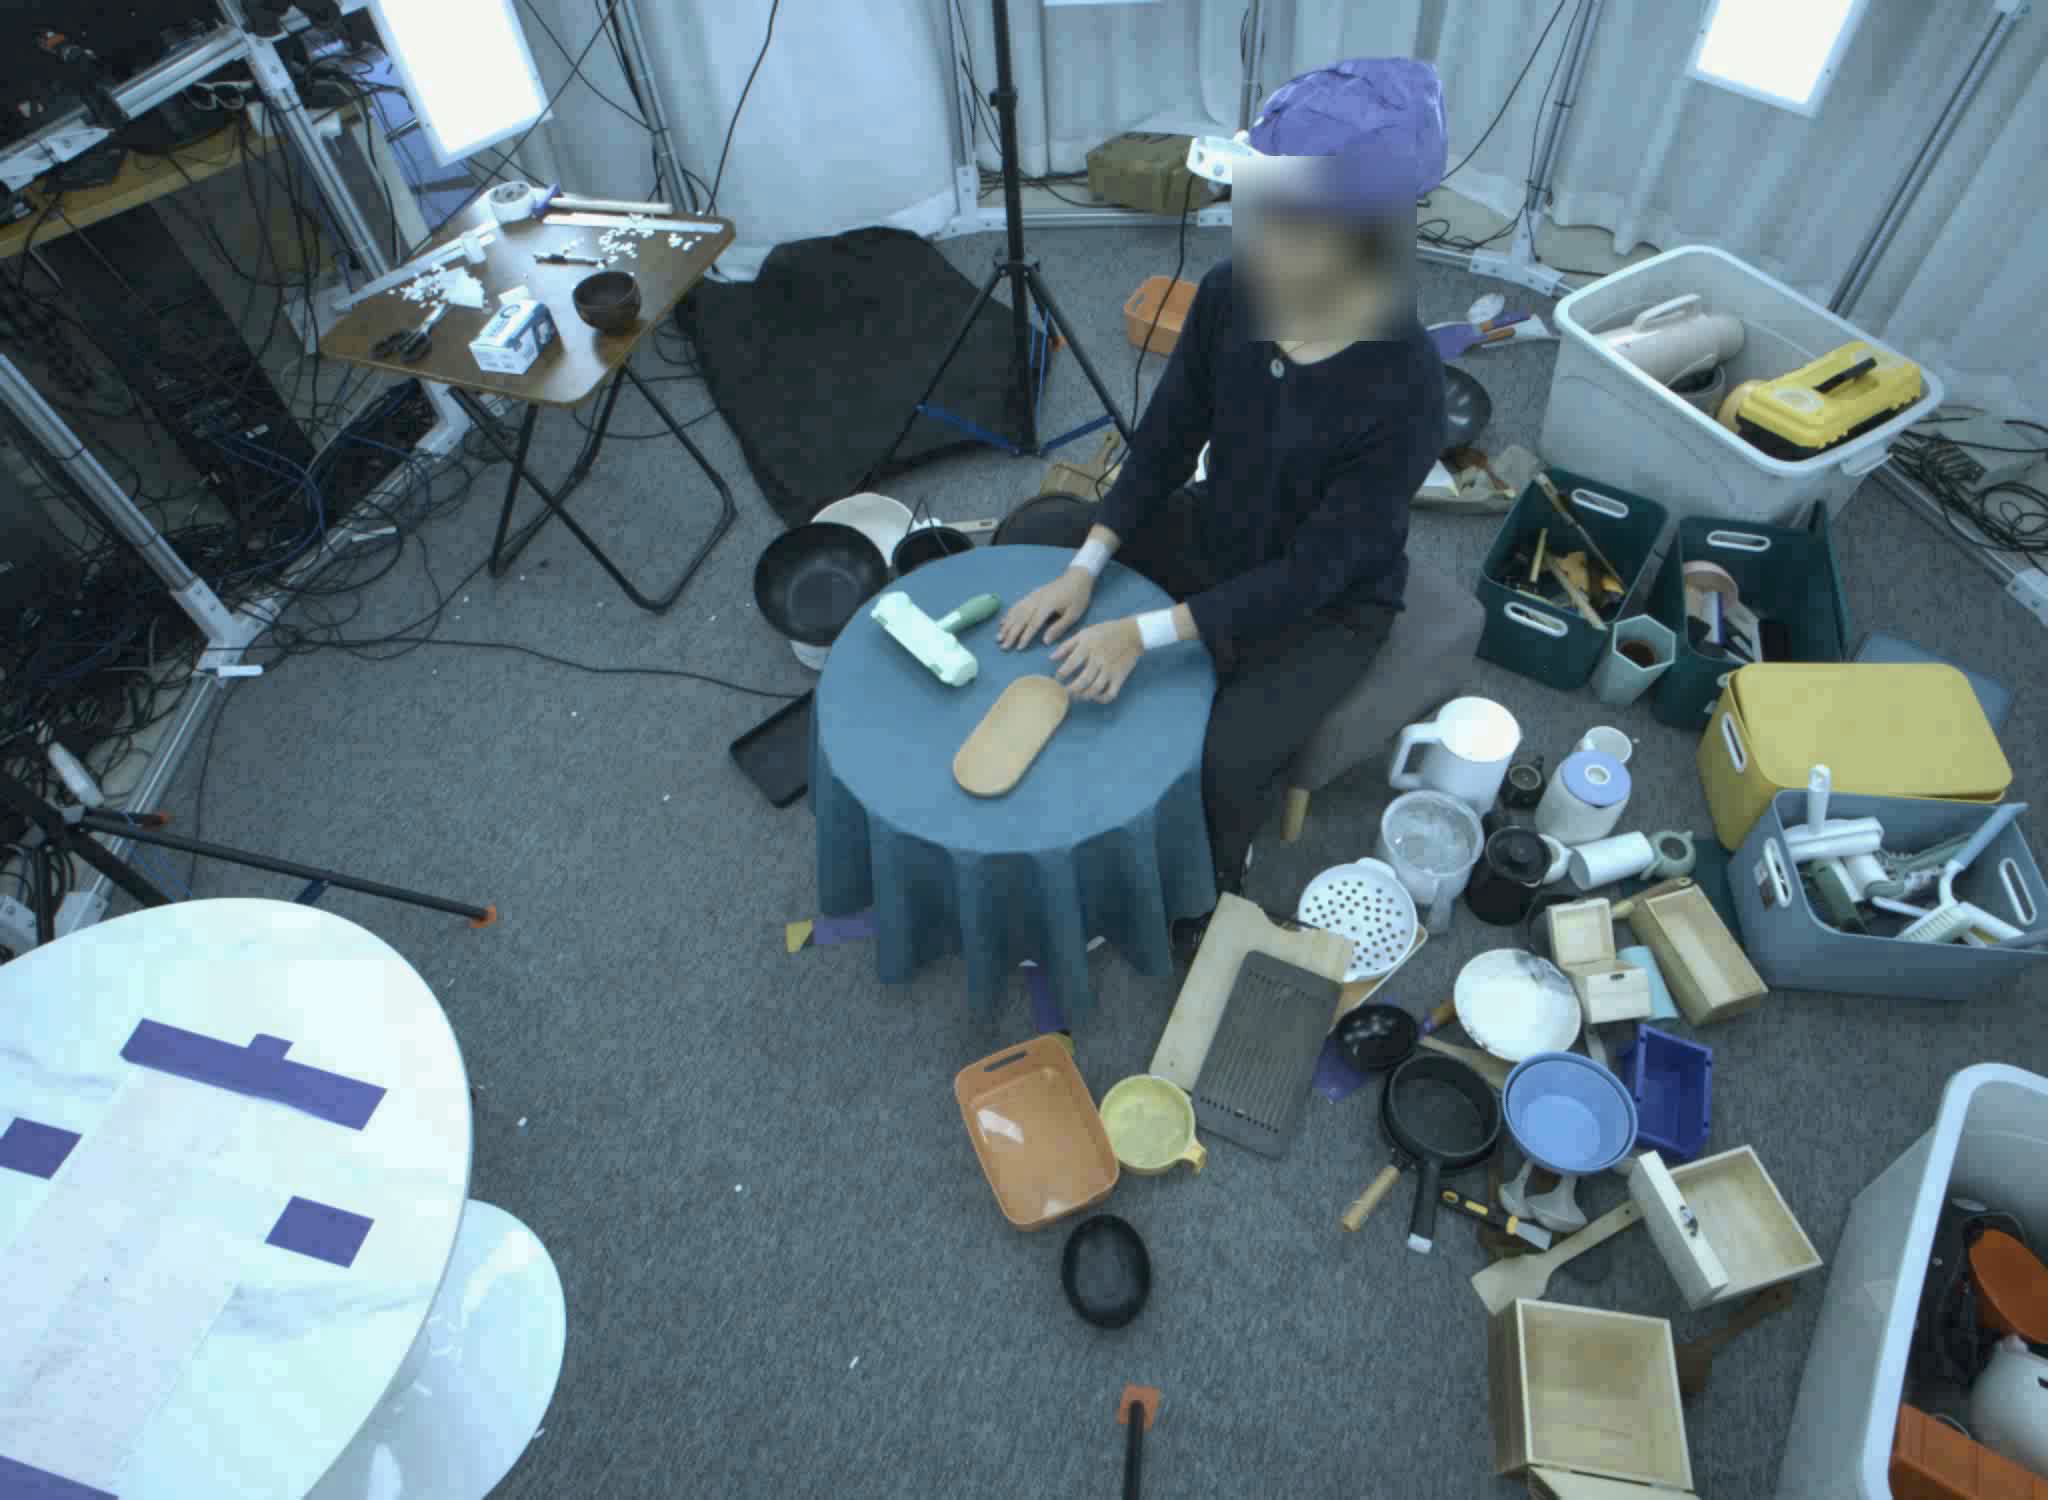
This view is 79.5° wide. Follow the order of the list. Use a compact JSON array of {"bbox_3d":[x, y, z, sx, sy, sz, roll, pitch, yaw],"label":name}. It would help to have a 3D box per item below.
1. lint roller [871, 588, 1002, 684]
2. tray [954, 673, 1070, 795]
[{"bbox_3d":[-0.110,-0.211,1.887,0.184,0.083,0.195,-40,63,-16],"label":"lint roller"},{"bbox_3d":[-0.016,-0.025,1.795,0.100,0.020,0.232,25,58,18],"label":"tray"}]
